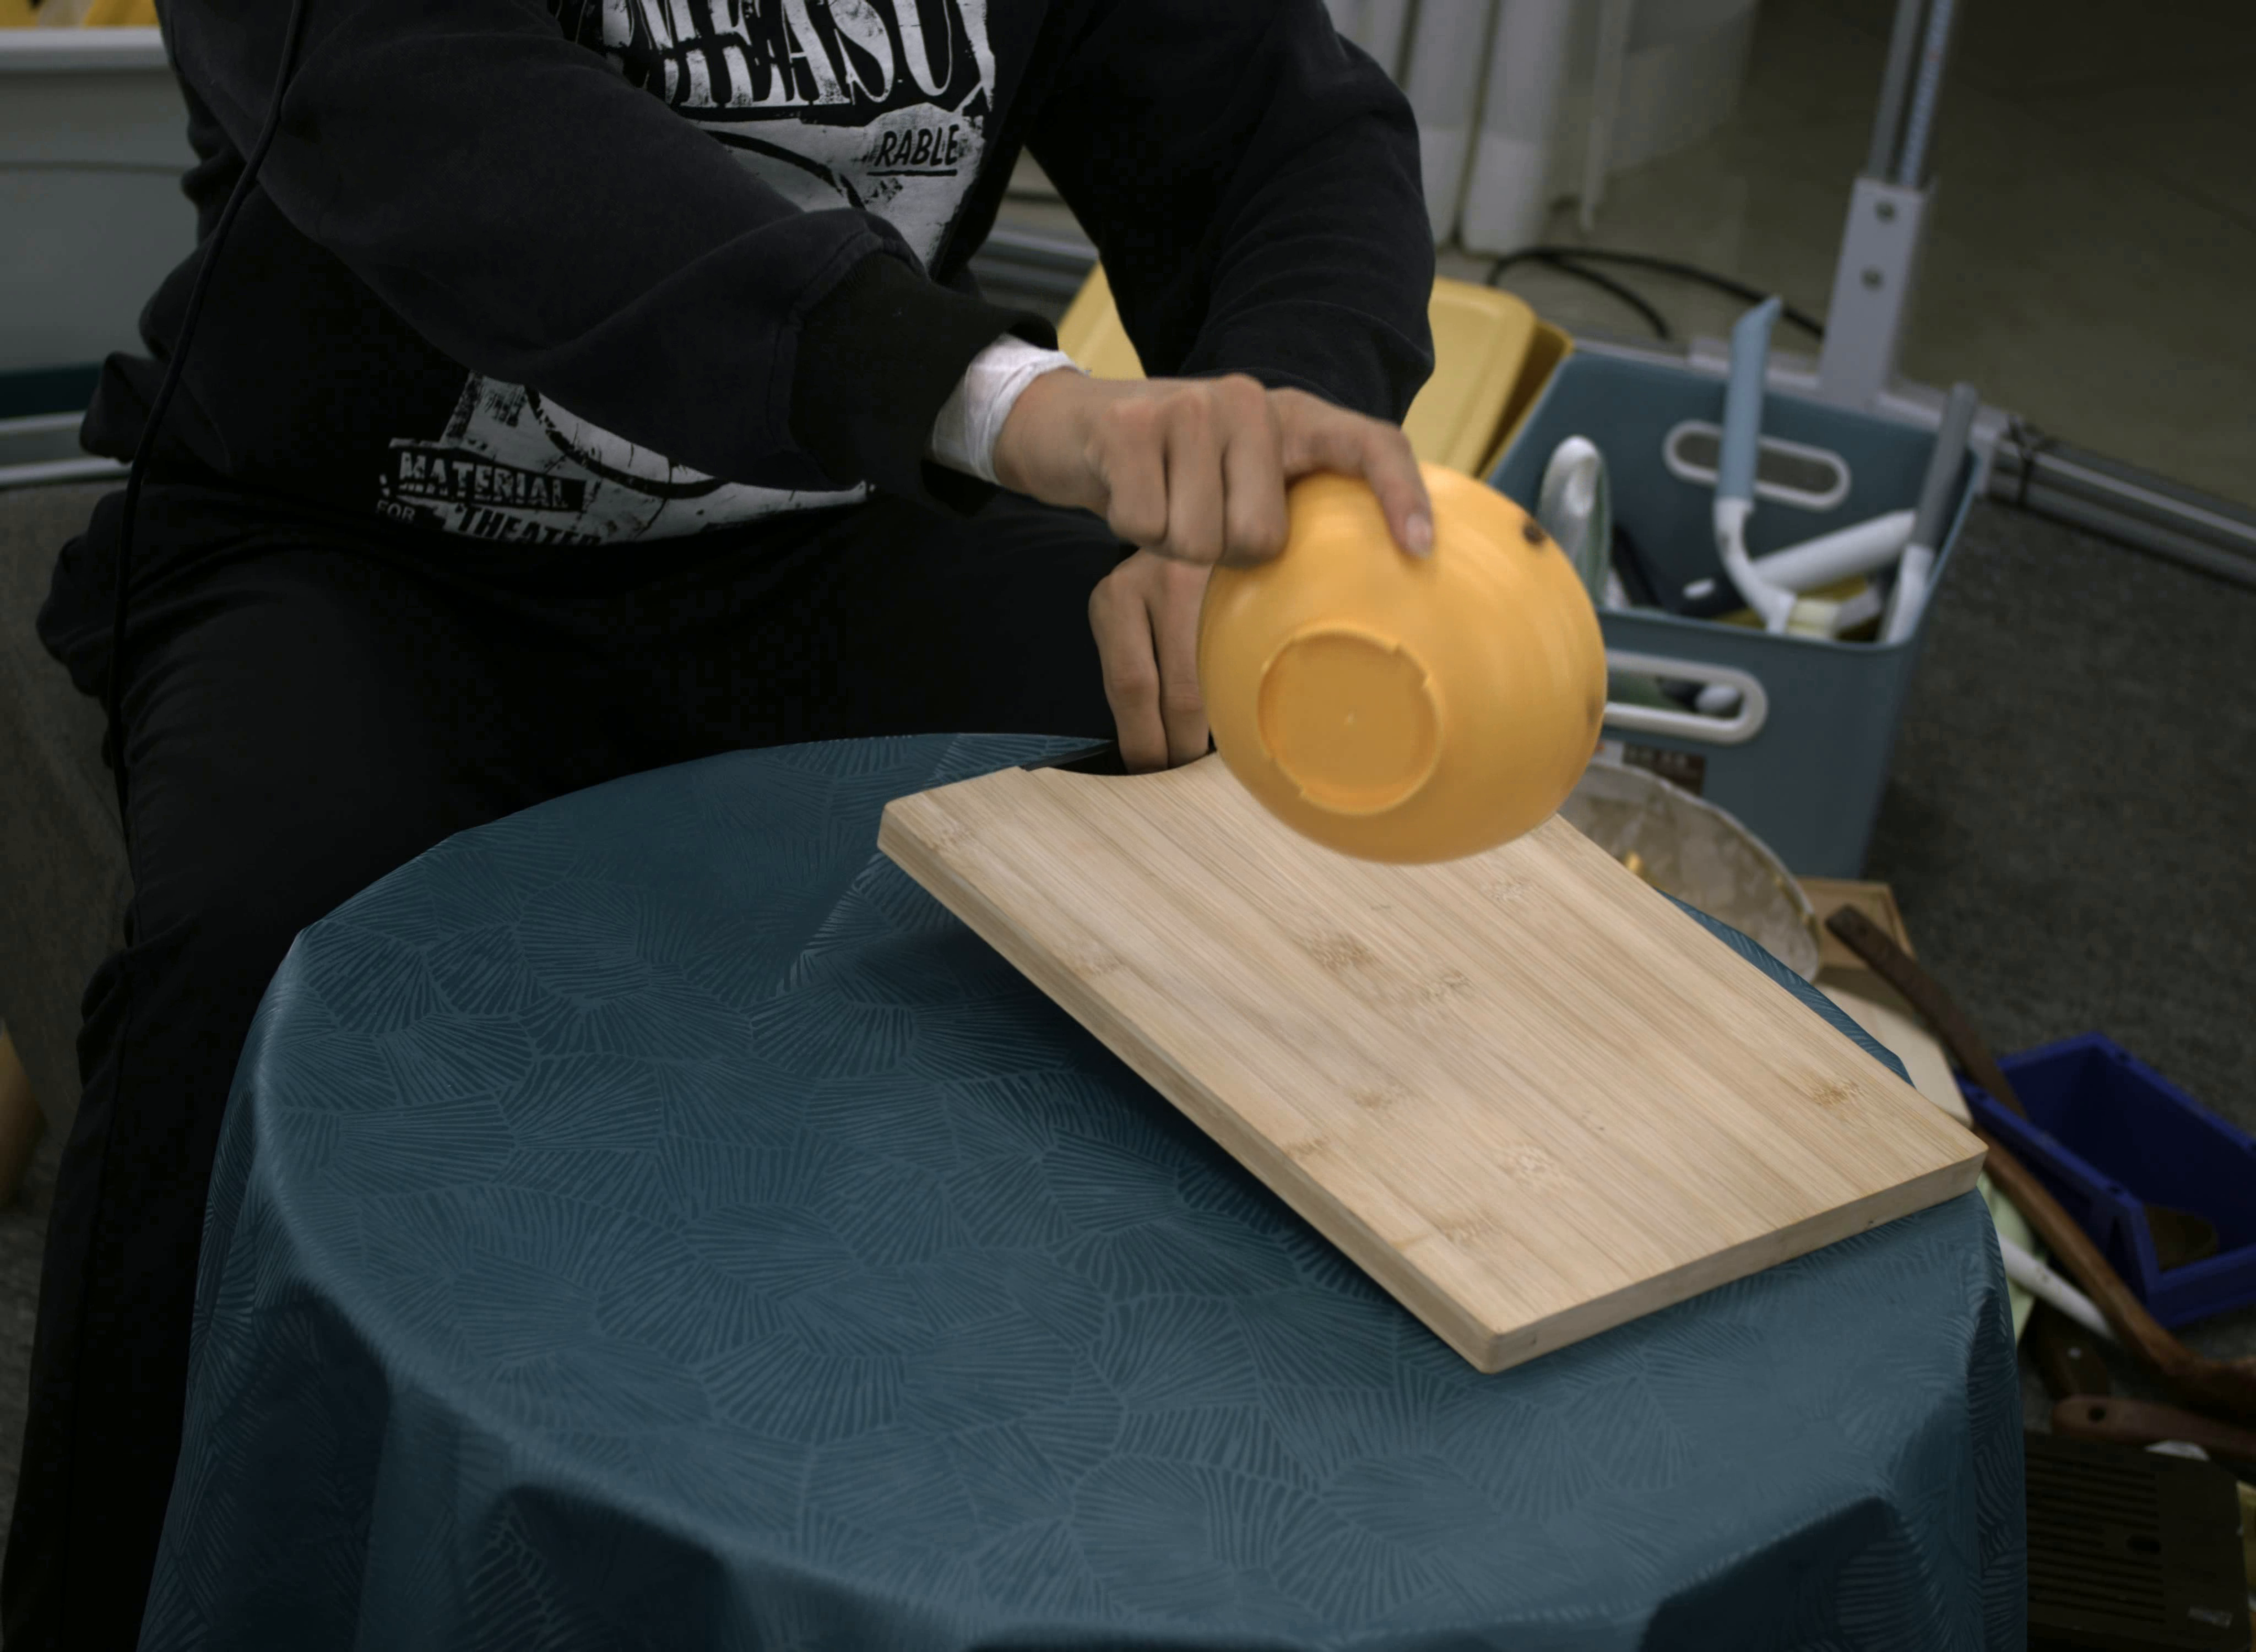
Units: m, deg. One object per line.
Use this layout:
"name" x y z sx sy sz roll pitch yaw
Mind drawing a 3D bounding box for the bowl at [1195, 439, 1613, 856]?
"bowl" 0.083 -0.050 1.751 0.145 0.145 0.060 14 23 14

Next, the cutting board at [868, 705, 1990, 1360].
"cutting board" 0.103 0.057 1.894 0.249 0.023 0.351 -16 41 -37
